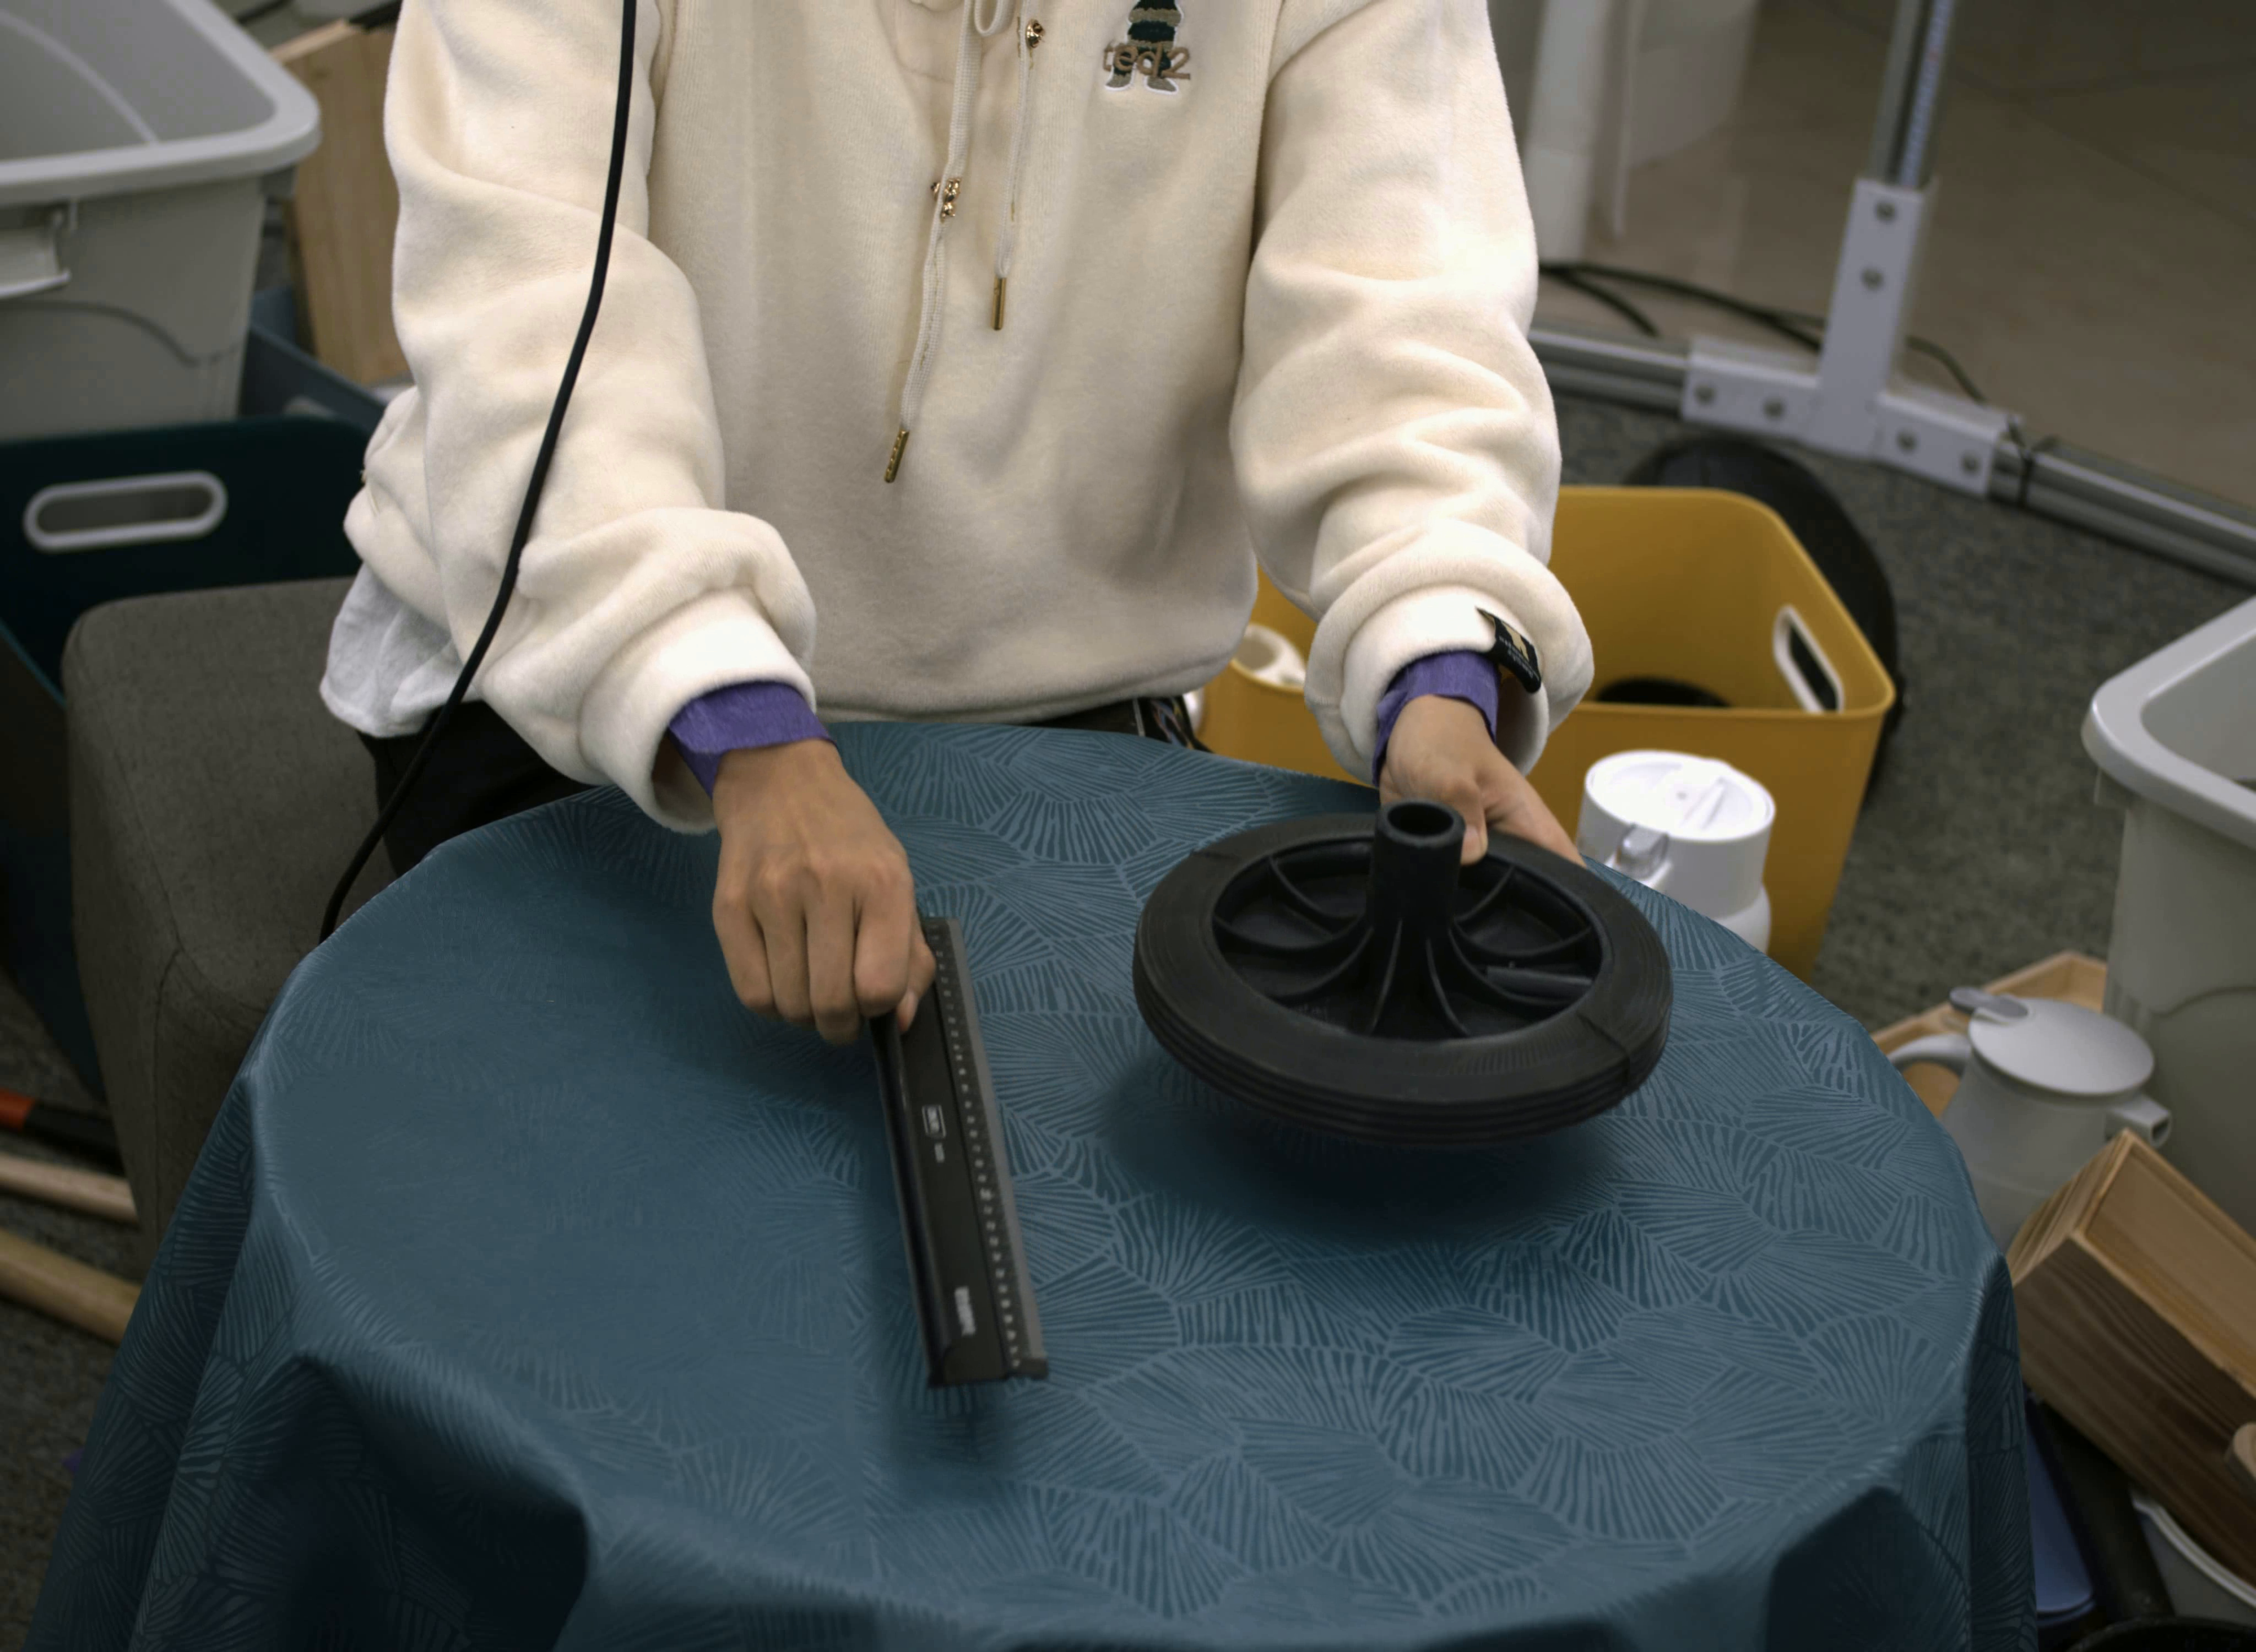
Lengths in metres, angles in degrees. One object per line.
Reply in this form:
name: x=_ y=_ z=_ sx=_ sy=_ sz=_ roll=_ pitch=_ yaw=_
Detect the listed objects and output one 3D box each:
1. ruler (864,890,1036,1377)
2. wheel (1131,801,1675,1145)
ruler: x=-0.060 y=0.095 z=1.768 sx=0.039 sy=0.017 sz=0.314 roll=-1 pitch=26 yaw=-6
wheel: x=0.097 y=0.033 z=1.836 sx=0.189 sy=0.079 sz=0.189 roll=-5 pitch=32 yaw=-15
